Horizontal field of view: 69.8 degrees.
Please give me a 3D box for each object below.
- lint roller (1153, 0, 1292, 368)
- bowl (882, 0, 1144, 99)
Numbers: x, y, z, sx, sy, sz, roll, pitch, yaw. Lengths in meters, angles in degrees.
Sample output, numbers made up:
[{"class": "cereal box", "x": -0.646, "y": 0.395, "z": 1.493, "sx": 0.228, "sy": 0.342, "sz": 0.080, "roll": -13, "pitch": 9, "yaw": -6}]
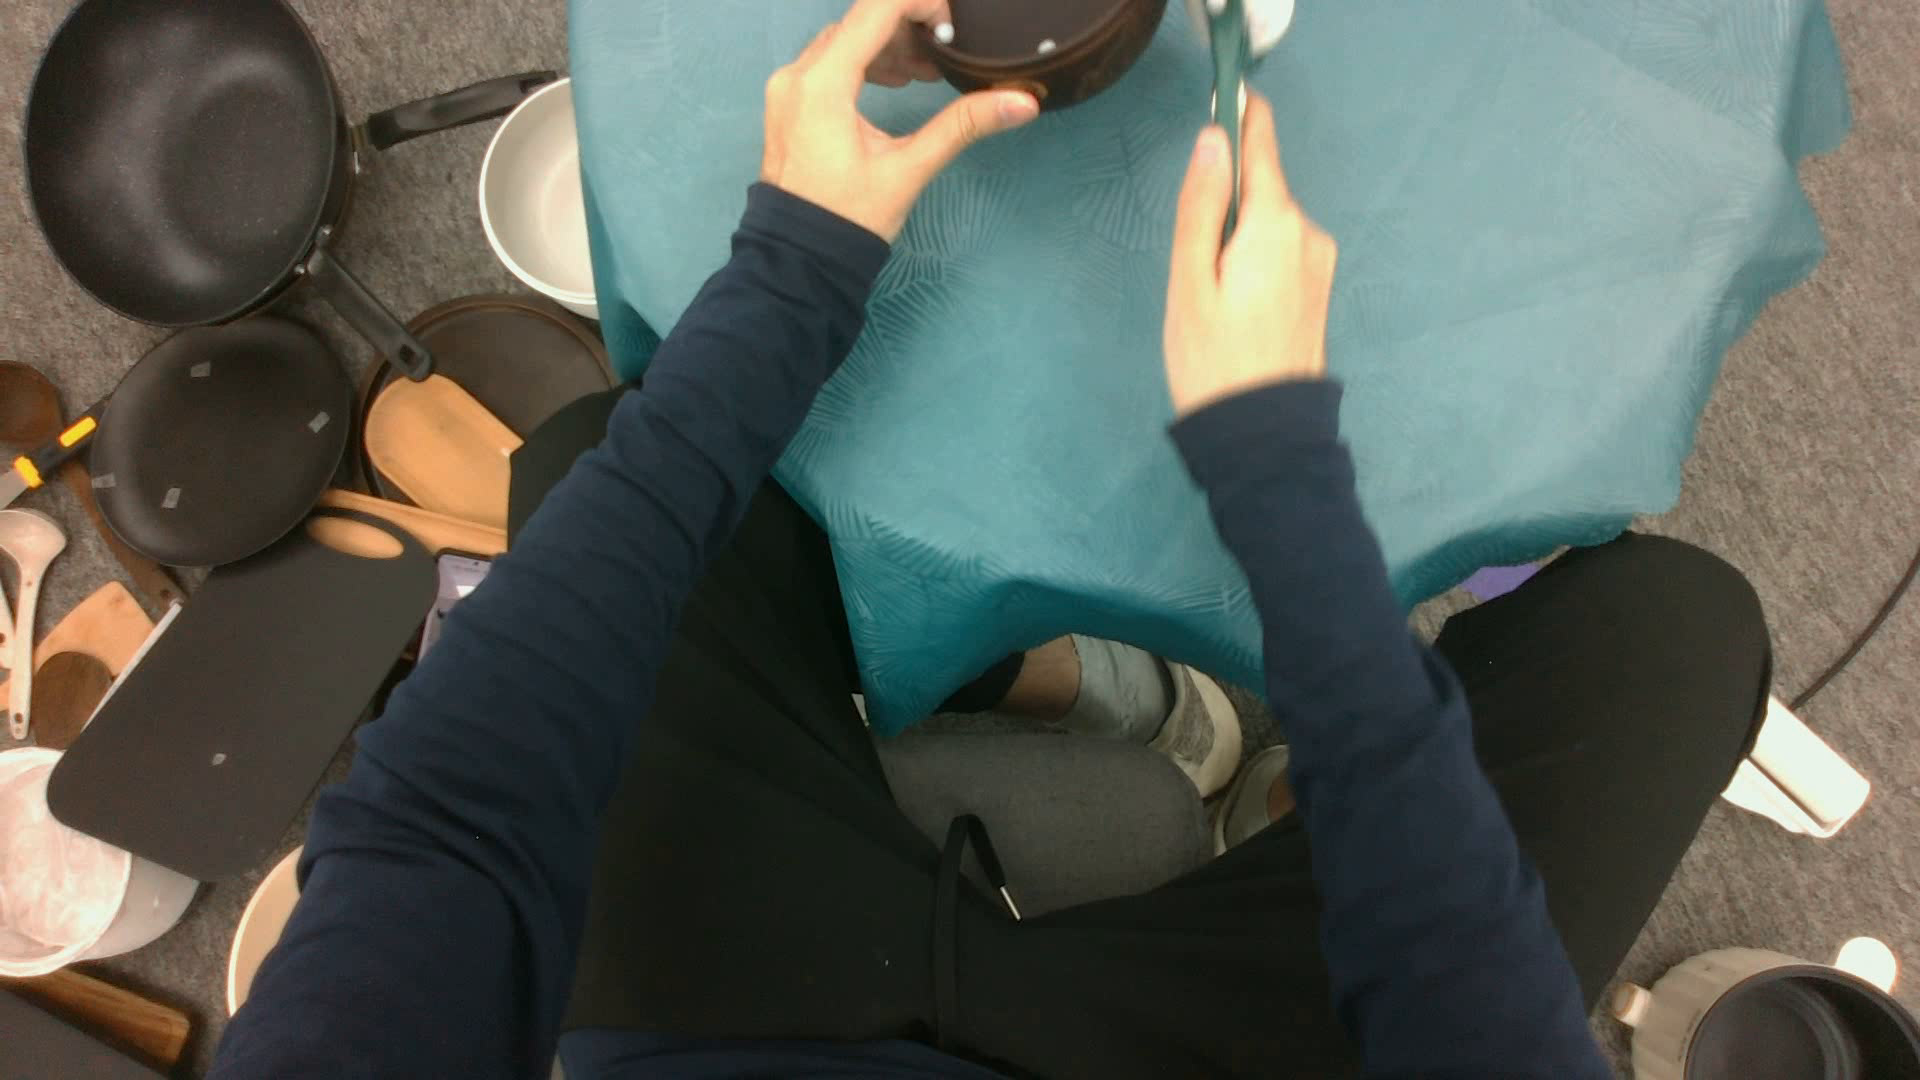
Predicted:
[{"class": "lint roller", "x": 0.107, "y": -0.162, "z": 0.577, "sx": 0.048, "sy": 0.134, "sz": 0.180, "roll": 0, "pitch": 86, "yaw": 22}, {"class": "bowl", "x": 0.028, "y": -0.248, "z": 0.605, "sx": 0.118, "sy": 0.070, "sz": 0.118, "roll": -4, "pitch": 77, "yaw": 17}]
